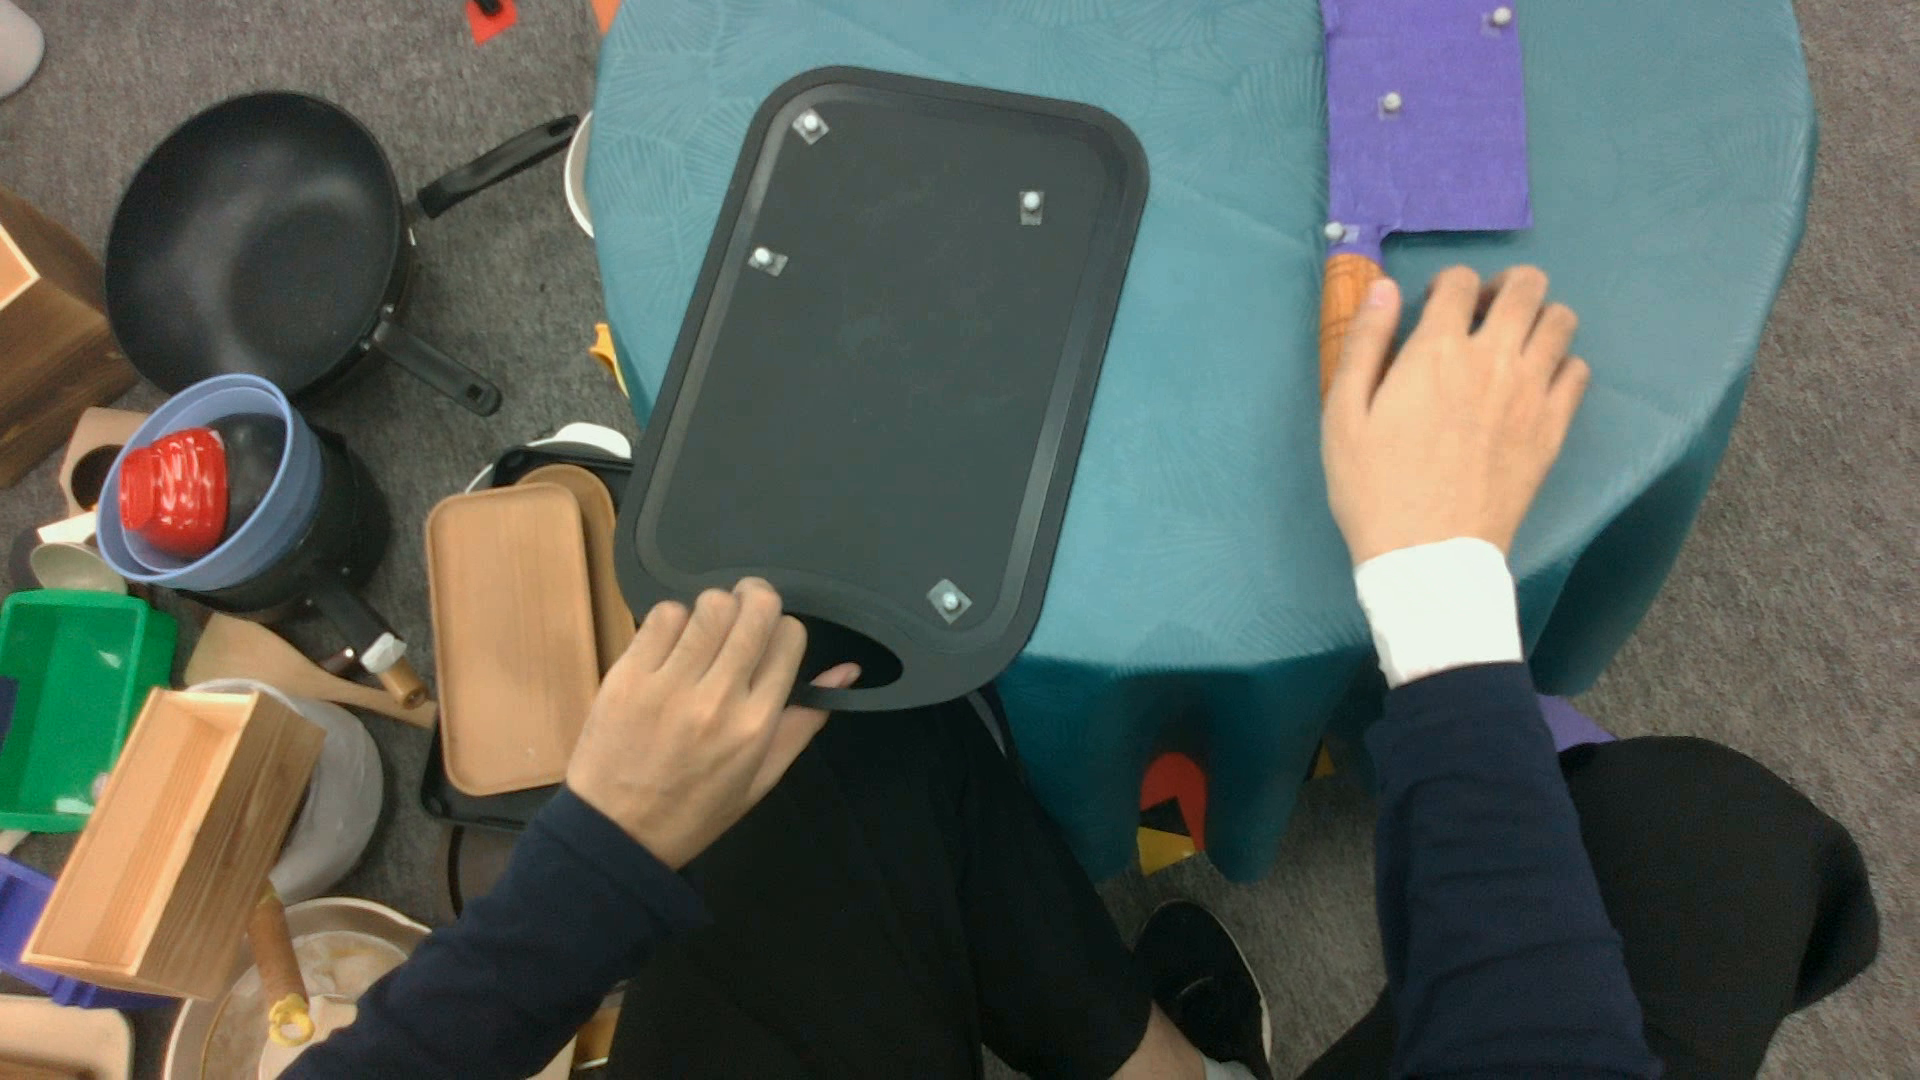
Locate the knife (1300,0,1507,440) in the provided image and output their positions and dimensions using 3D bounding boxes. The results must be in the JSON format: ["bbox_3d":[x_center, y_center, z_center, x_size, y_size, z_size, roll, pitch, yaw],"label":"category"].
[{"bbox_3d":[0.209,-0.199,0.653,0.104,0.032,0.316,0,73,7],"label":"knife"}]

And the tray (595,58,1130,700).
[{"bbox_3d":[-0.047,-0.085,0.661,0.211,0.010,0.326,12,75,11],"label":"tray"}]
